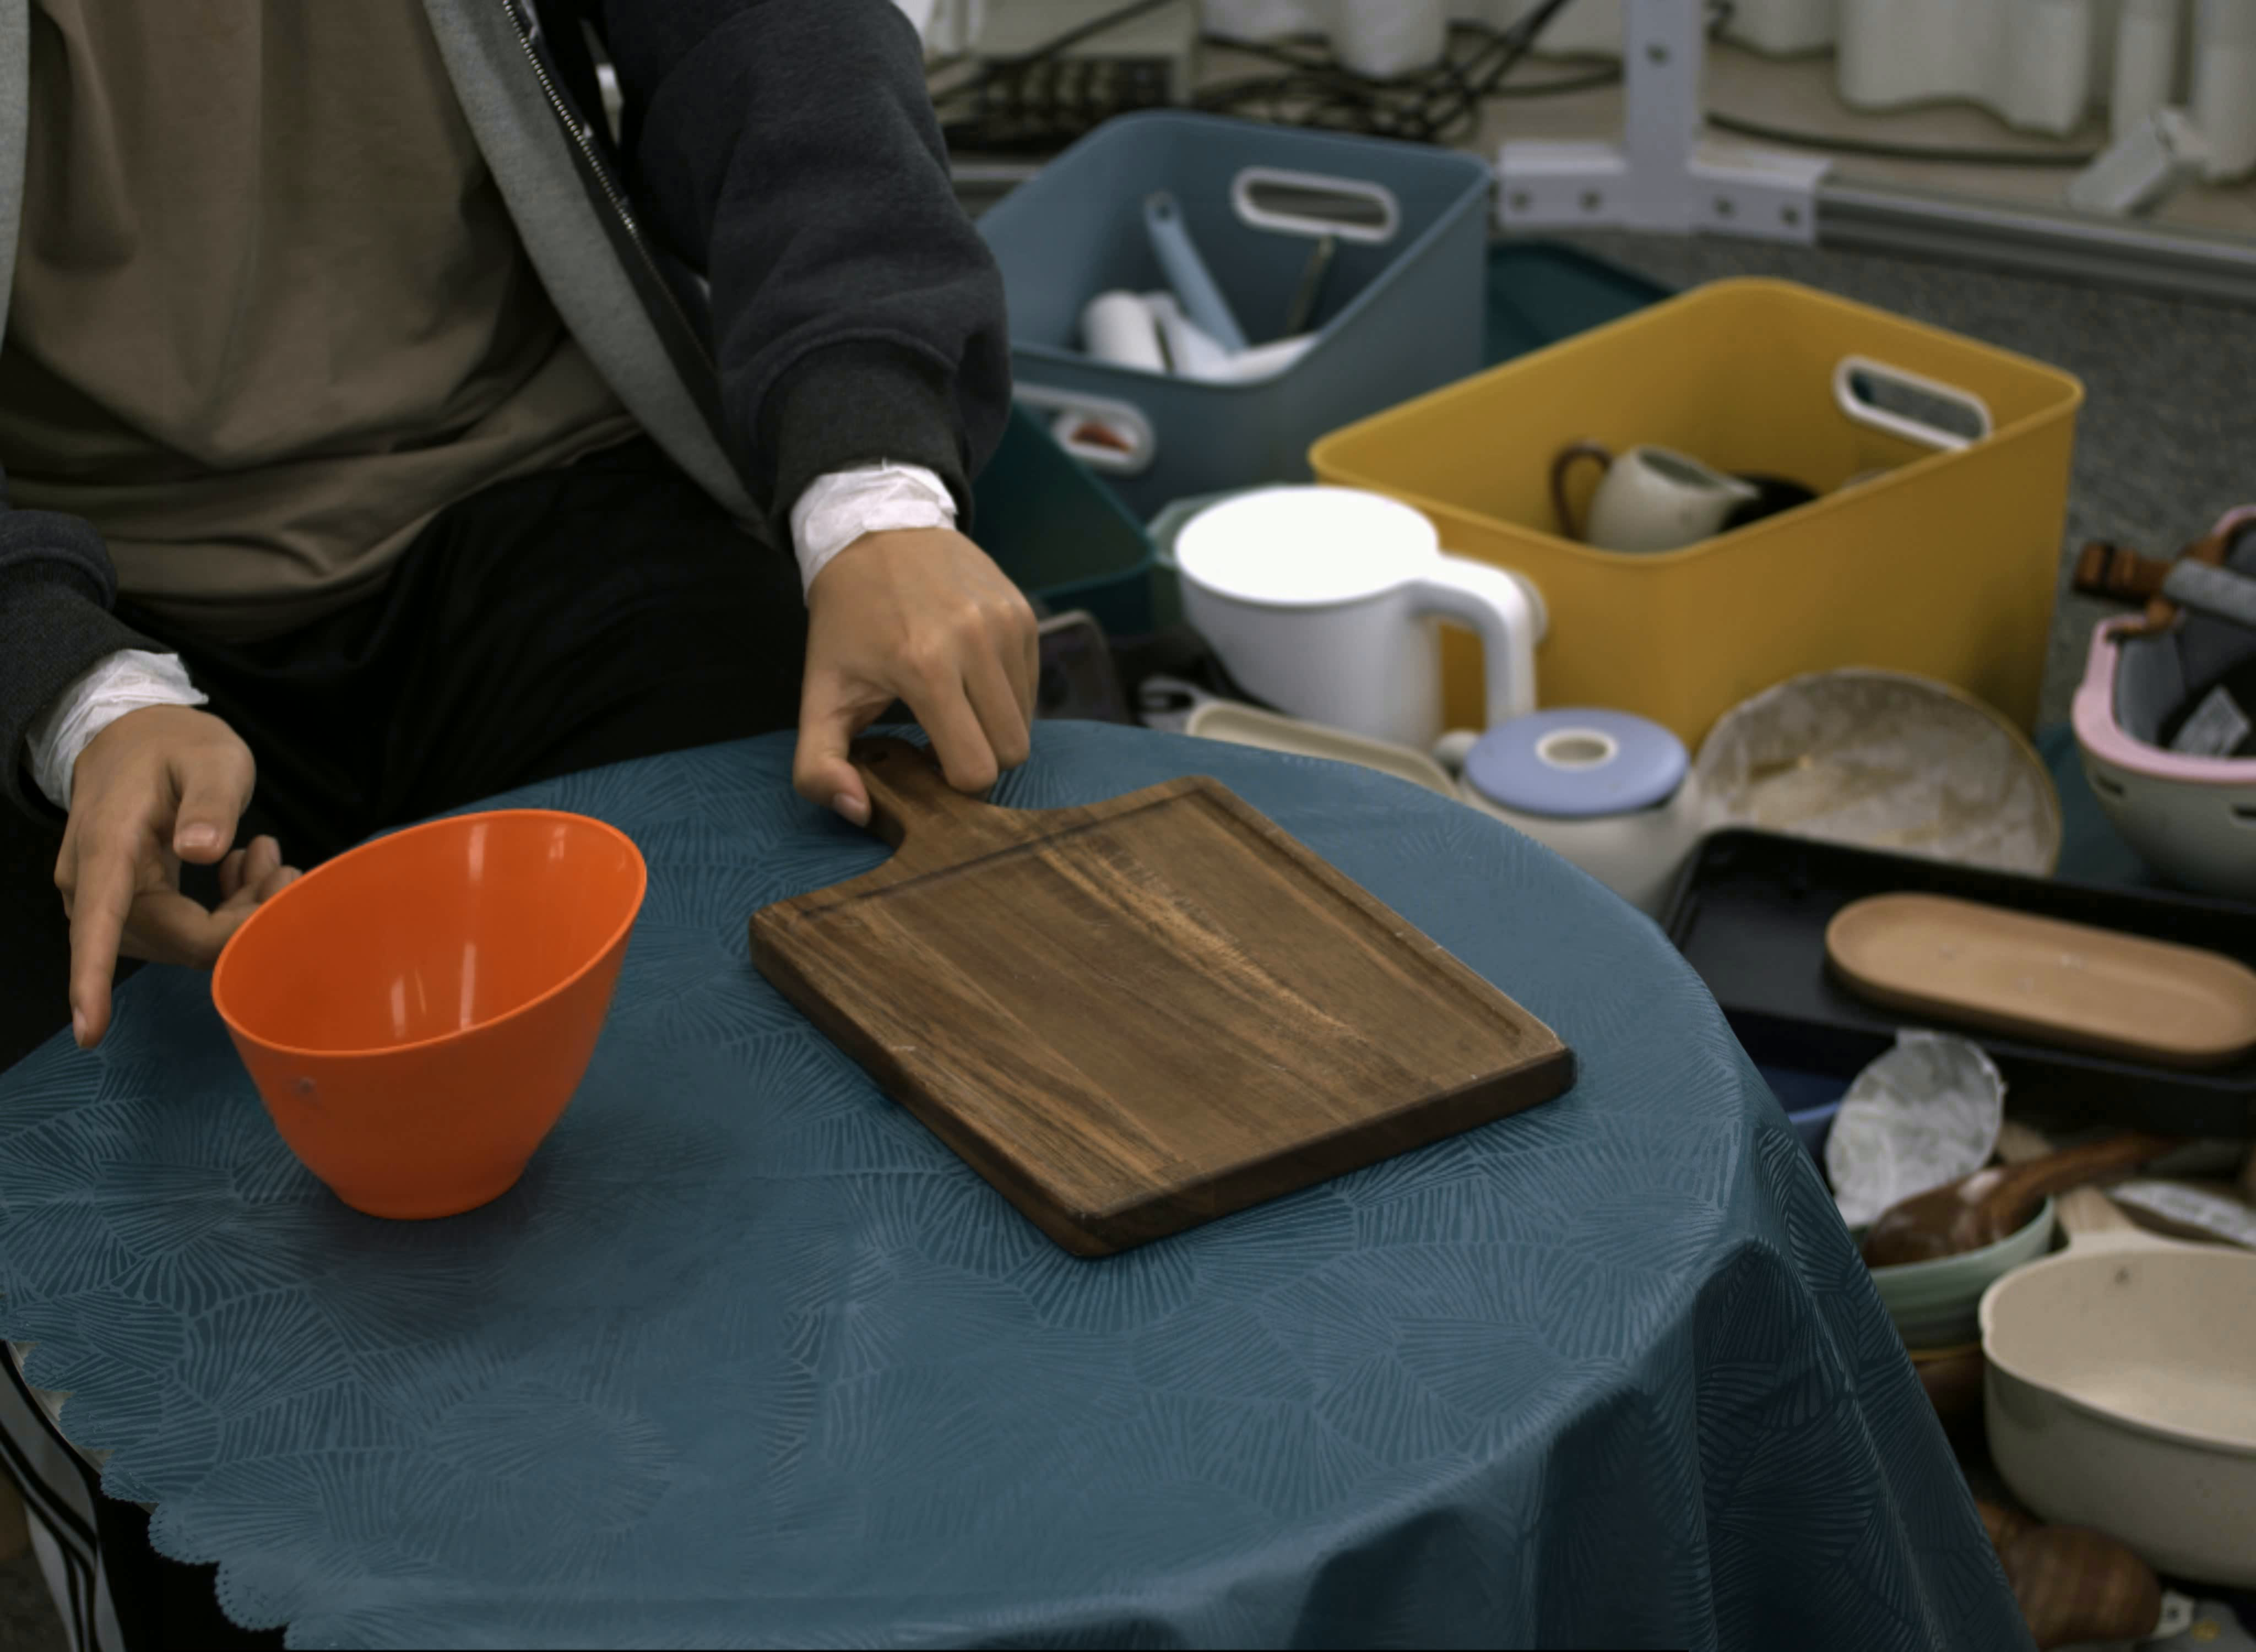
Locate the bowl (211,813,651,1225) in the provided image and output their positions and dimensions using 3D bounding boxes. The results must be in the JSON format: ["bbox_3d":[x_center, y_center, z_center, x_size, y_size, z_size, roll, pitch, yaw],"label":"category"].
[{"bbox_3d":[-0.228,0.071,1.873,0.147,0.103,0.150,-2,28,1],"label":"bowl"}]

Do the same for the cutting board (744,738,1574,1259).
[{"bbox_3d":[-0.017,0.042,1.995,0.202,0.023,0.353,-17,30,-25],"label":"cutting board"}]
